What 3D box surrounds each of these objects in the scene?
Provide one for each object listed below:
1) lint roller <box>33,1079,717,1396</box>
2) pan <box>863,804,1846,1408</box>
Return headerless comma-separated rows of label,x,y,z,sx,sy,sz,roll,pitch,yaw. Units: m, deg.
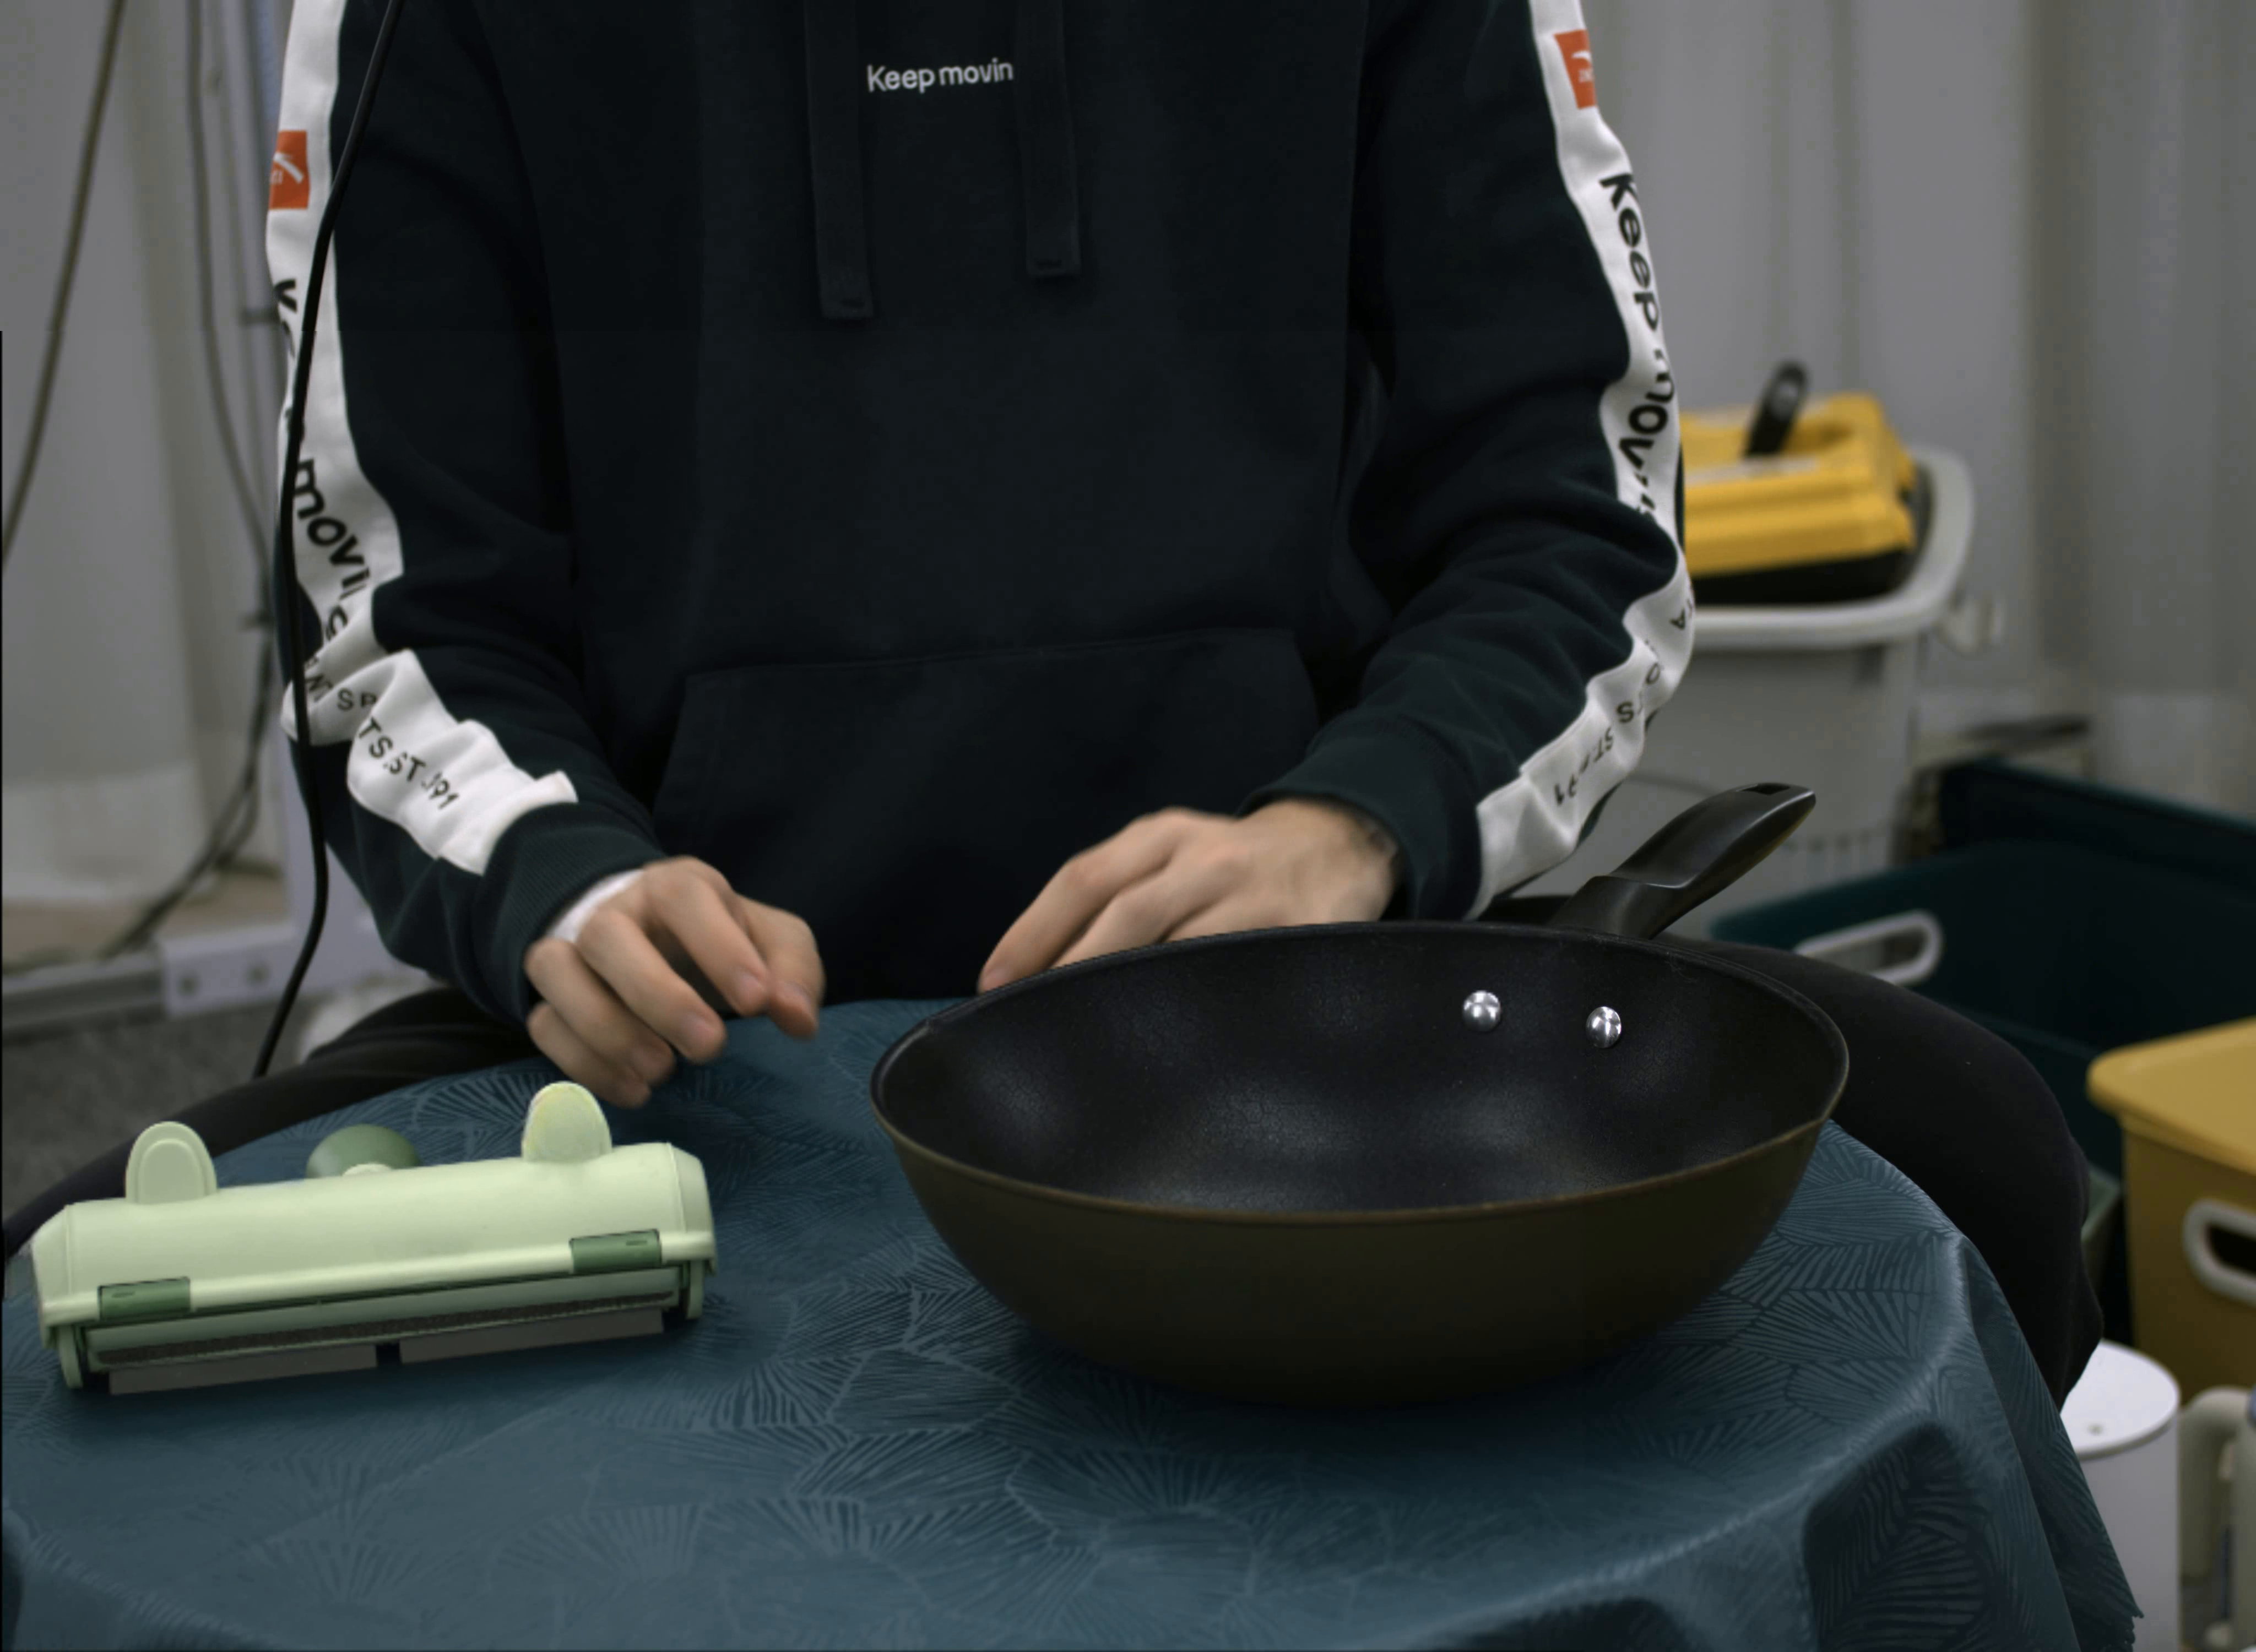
lint roller,-0.230,0.105,1.655,0.198,0.081,0.185,-6,20,-9
pan,0.108,0.082,1.657,0.289,0.086,0.464,6,16,28
